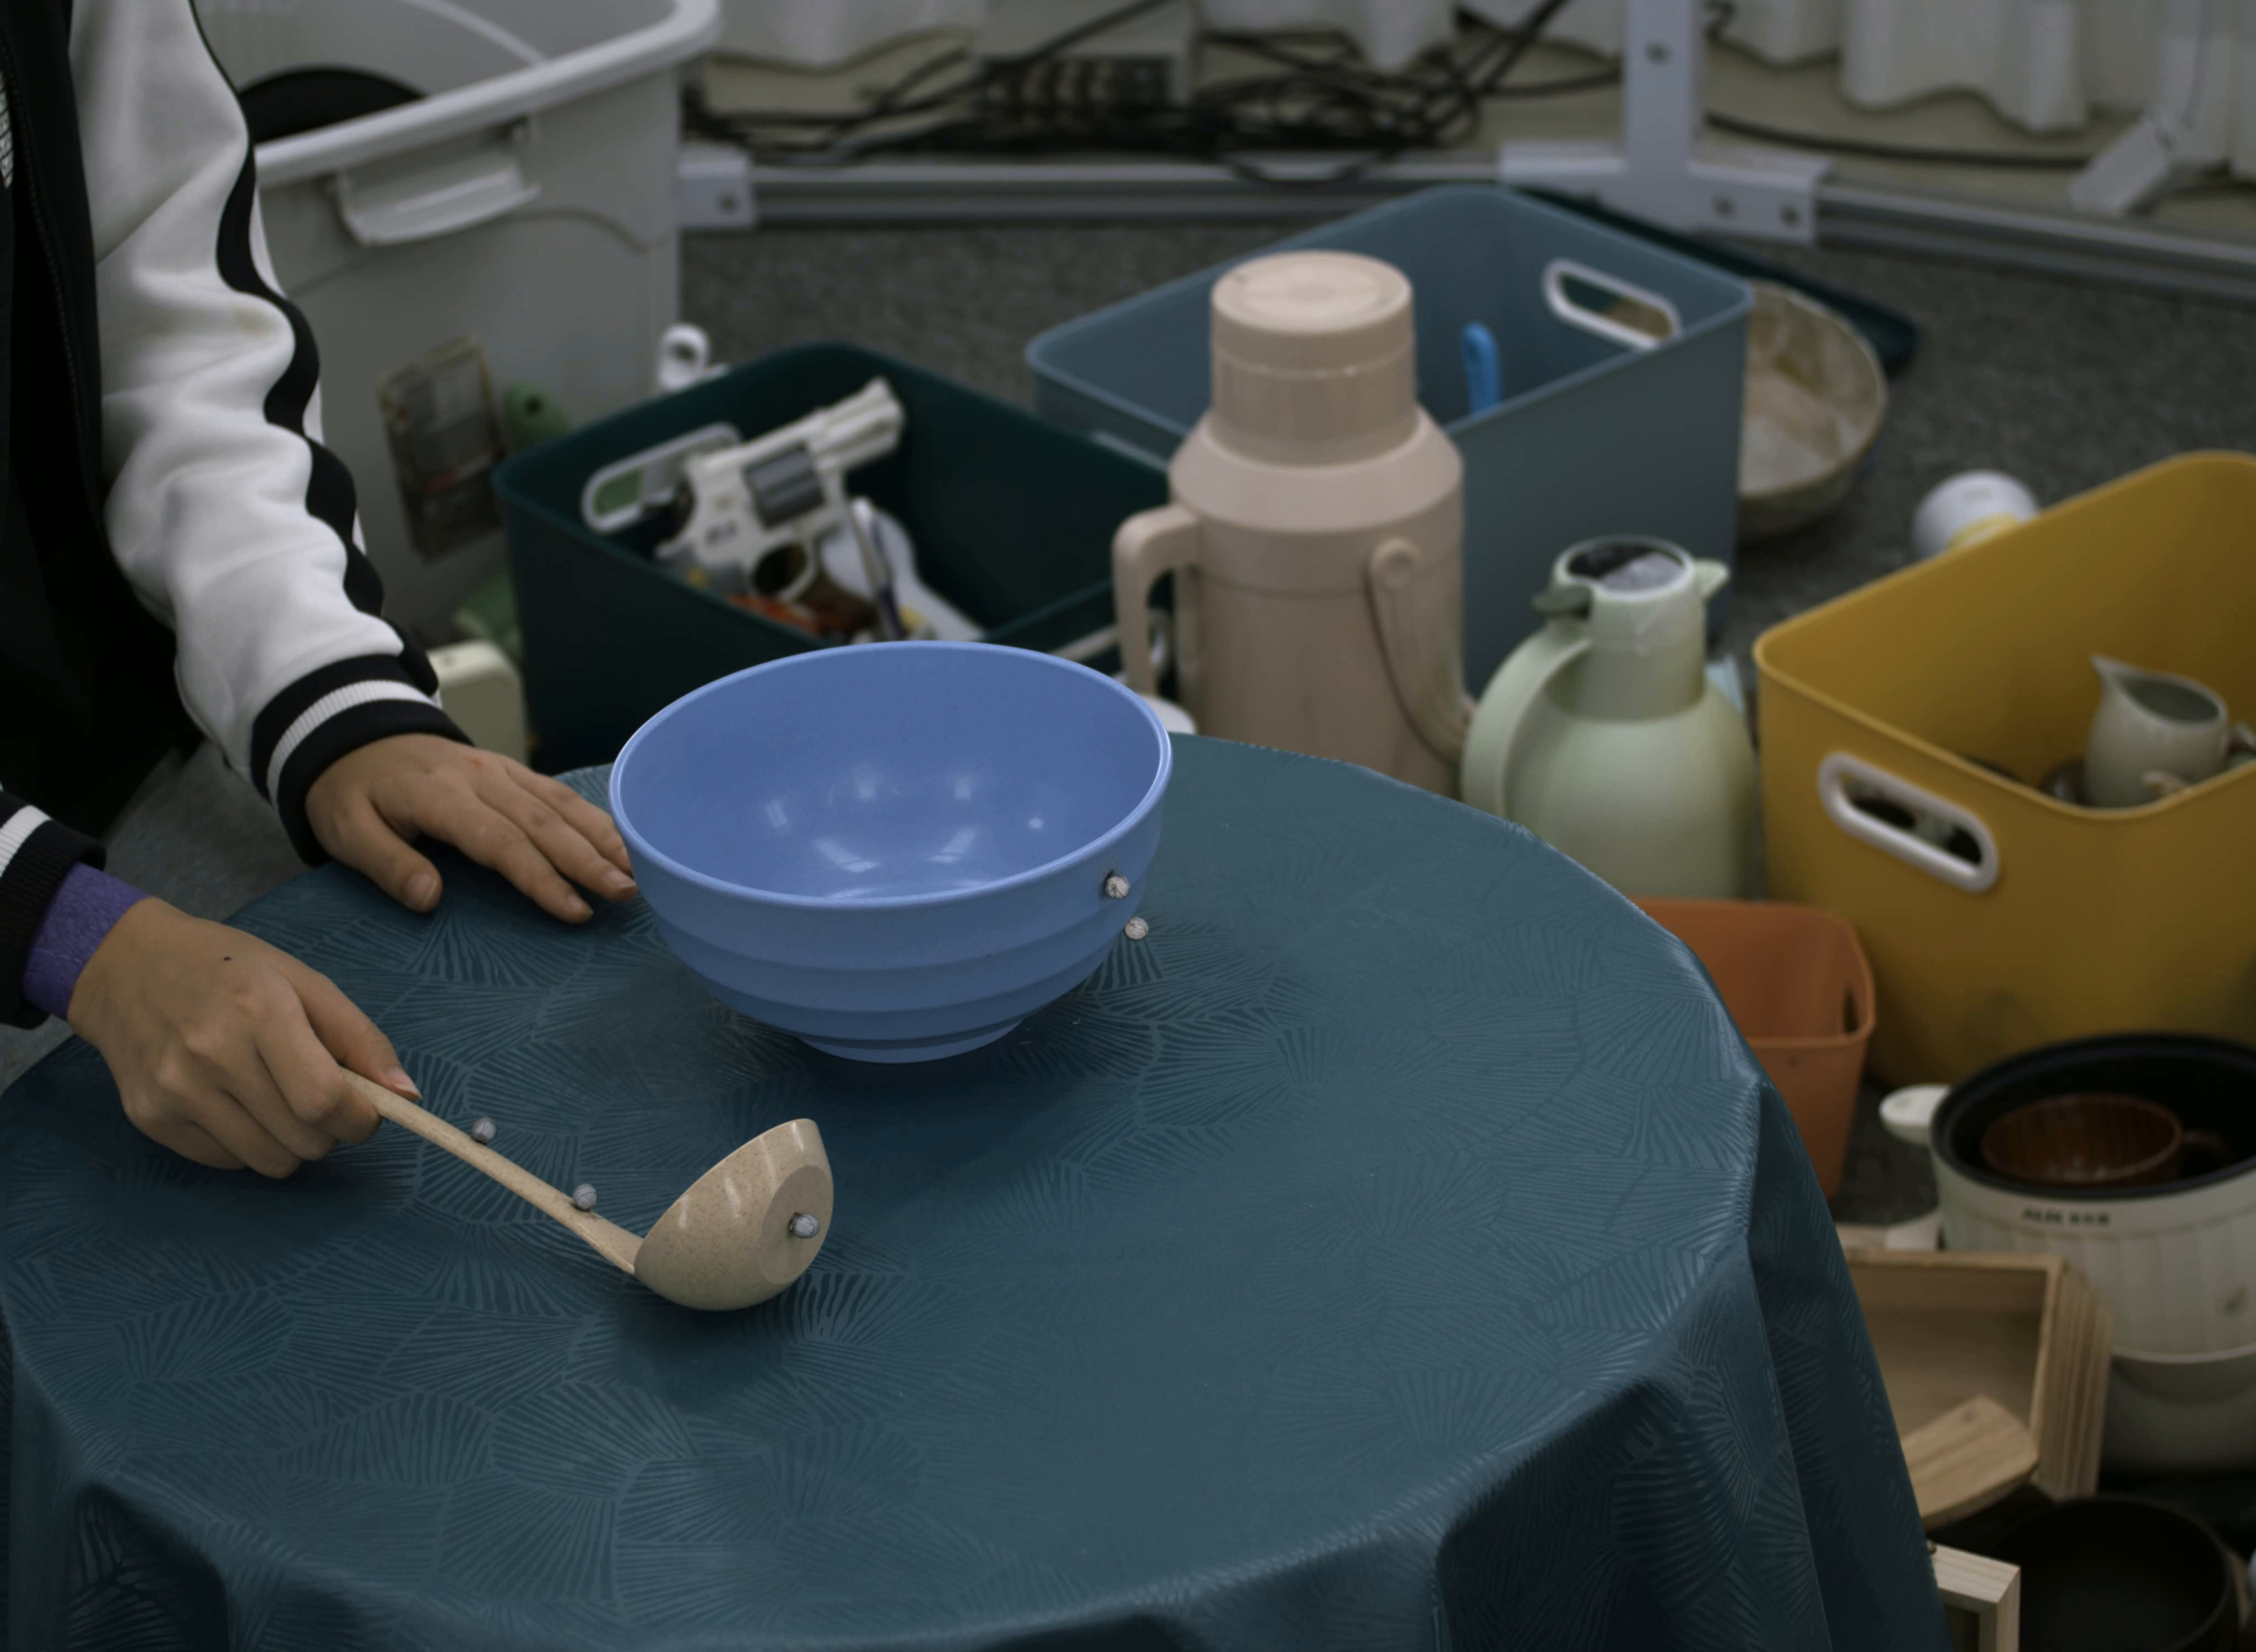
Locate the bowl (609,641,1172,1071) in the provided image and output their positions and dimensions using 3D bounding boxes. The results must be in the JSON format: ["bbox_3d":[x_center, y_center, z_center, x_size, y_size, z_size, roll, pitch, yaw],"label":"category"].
[{"bbox_3d":[-0.079,0.022,1.965,0.195,0.094,0.199,-3,28,2],"label":"bowl"}]

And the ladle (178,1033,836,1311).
[{"bbox_3d":[-0.208,0.086,1.841,0.254,0.072,0.073,23,19,26],"label":"ladle"}]
